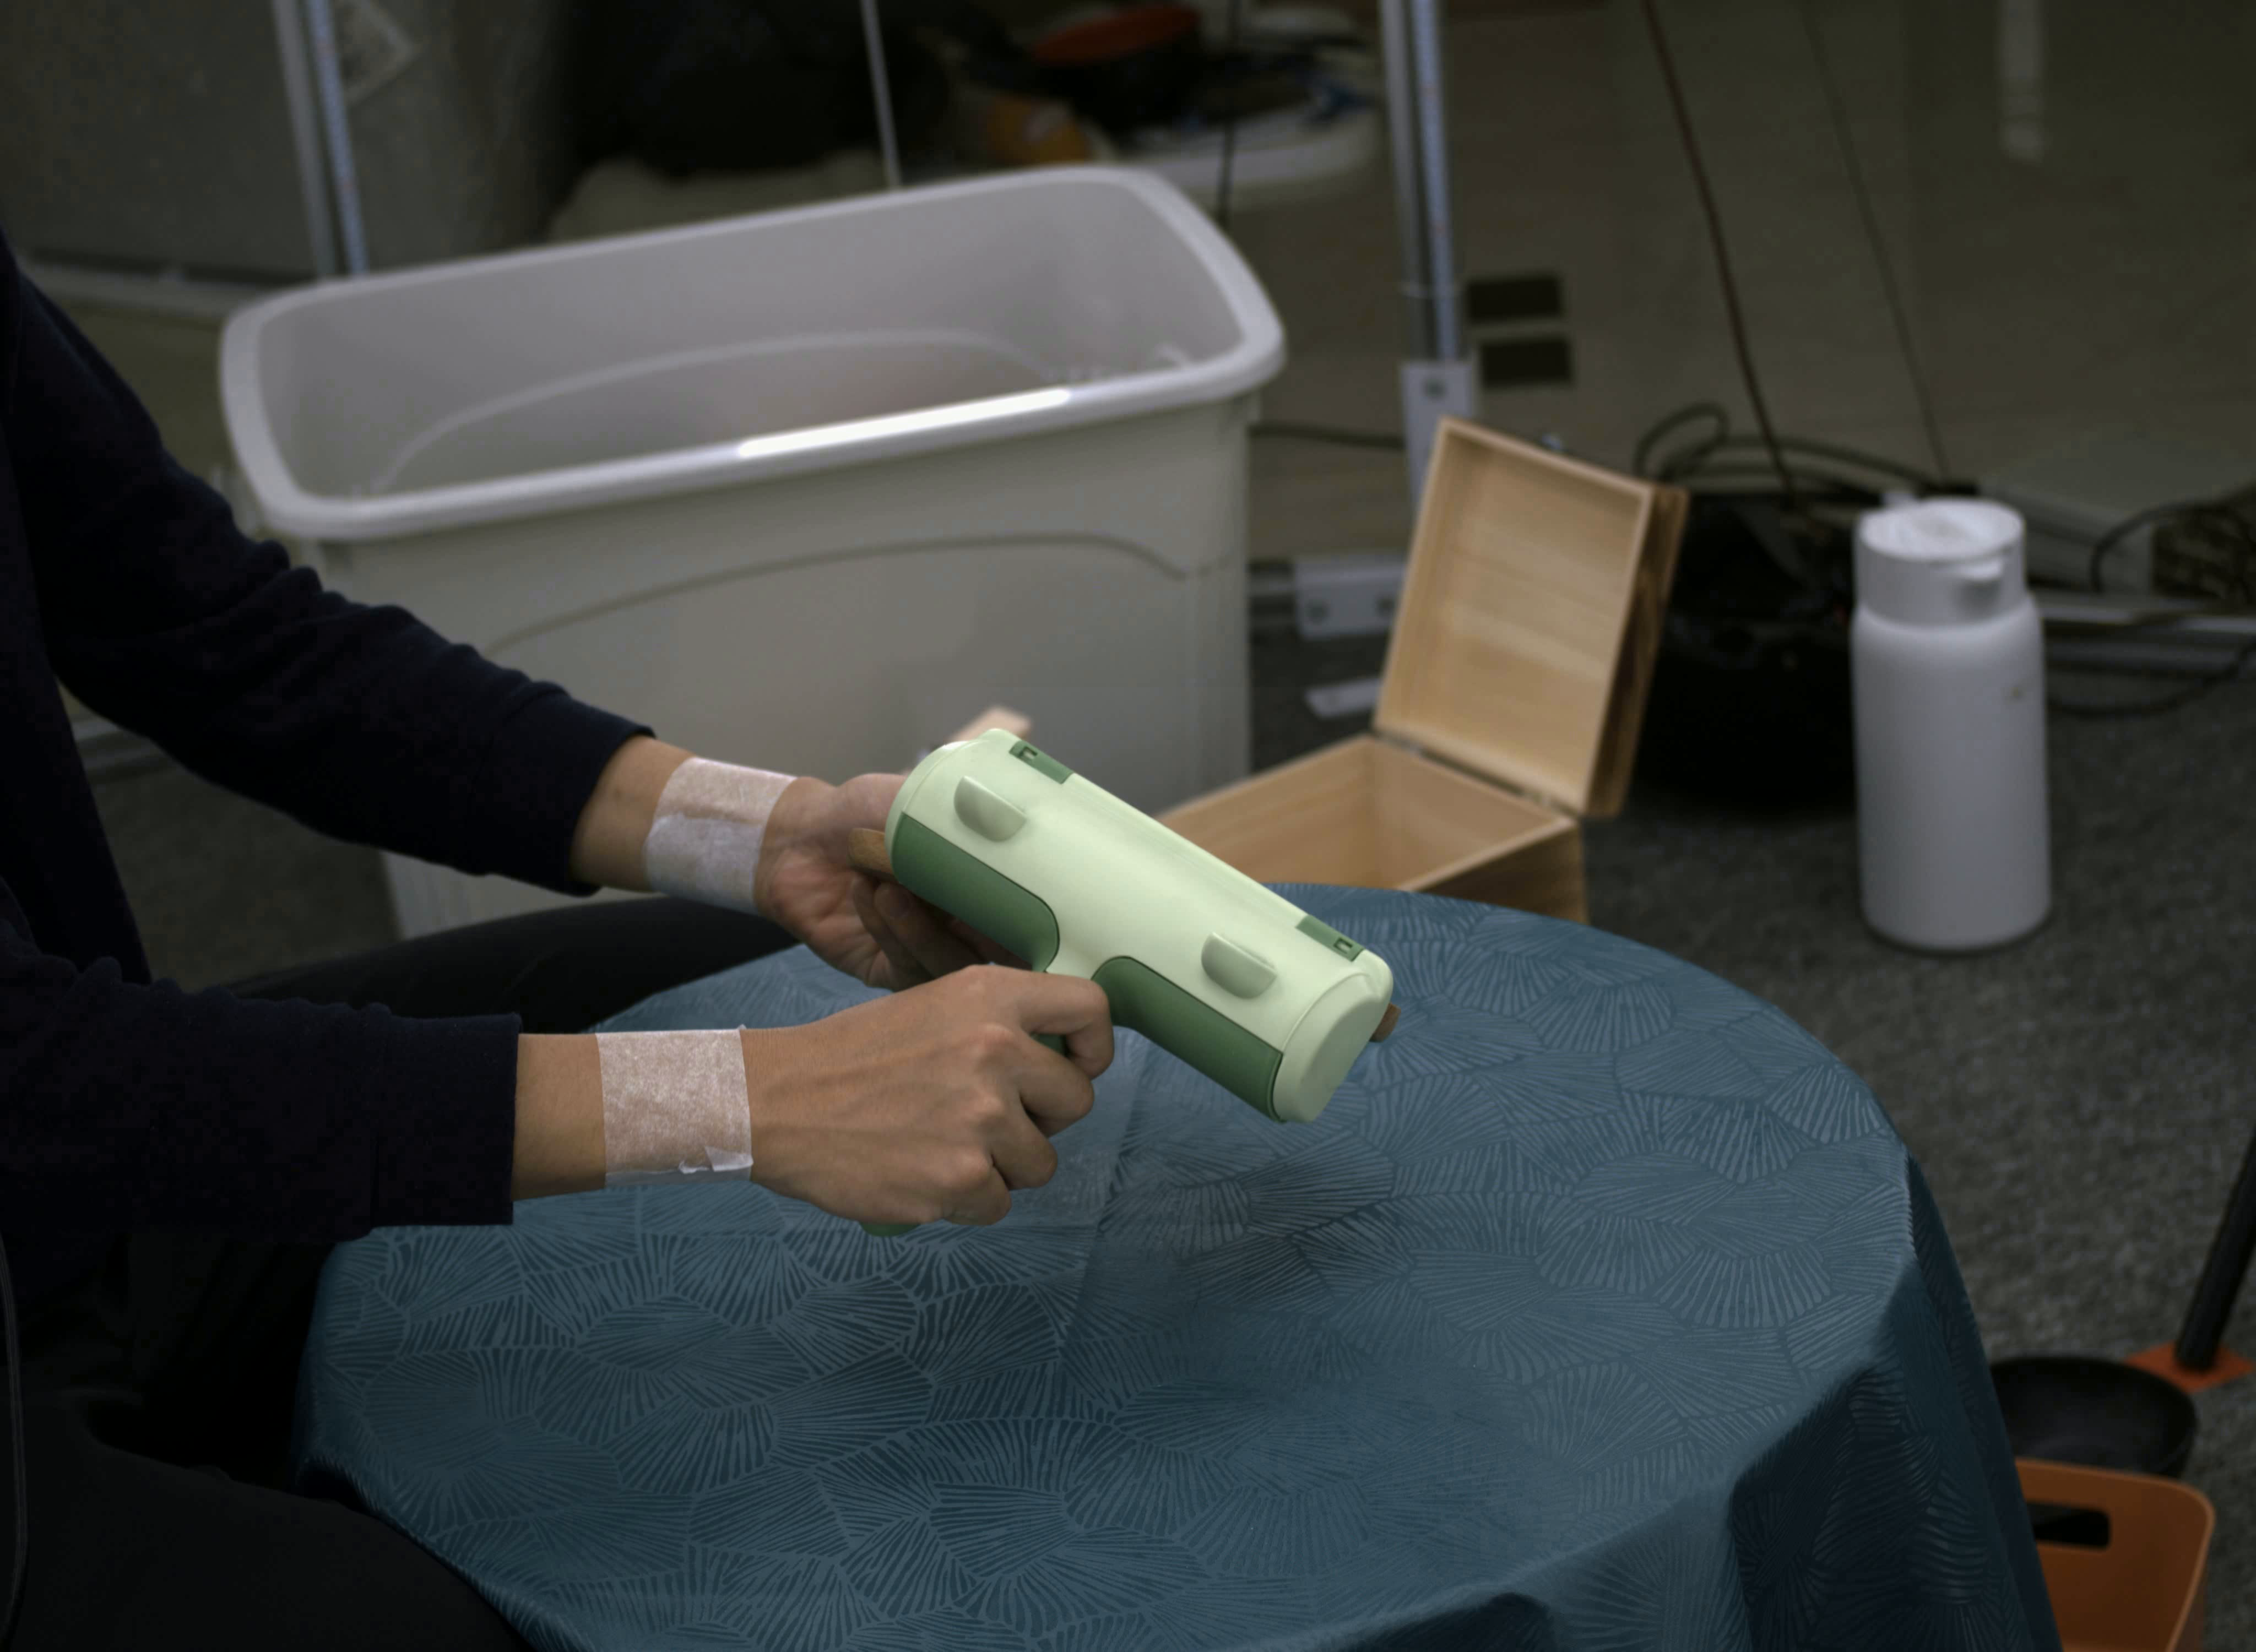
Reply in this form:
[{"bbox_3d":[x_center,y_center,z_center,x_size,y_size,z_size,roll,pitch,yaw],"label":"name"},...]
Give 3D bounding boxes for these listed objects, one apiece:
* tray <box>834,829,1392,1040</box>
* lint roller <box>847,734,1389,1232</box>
[{"bbox_3d":[-0.008,0.041,2.117,0.230,0.020,0.102,15,-7,26],"label":"tray"},{"bbox_3d":[-0.037,0.064,1.994,0.197,0.084,0.181,32,58,25],"label":"lint roller"}]
